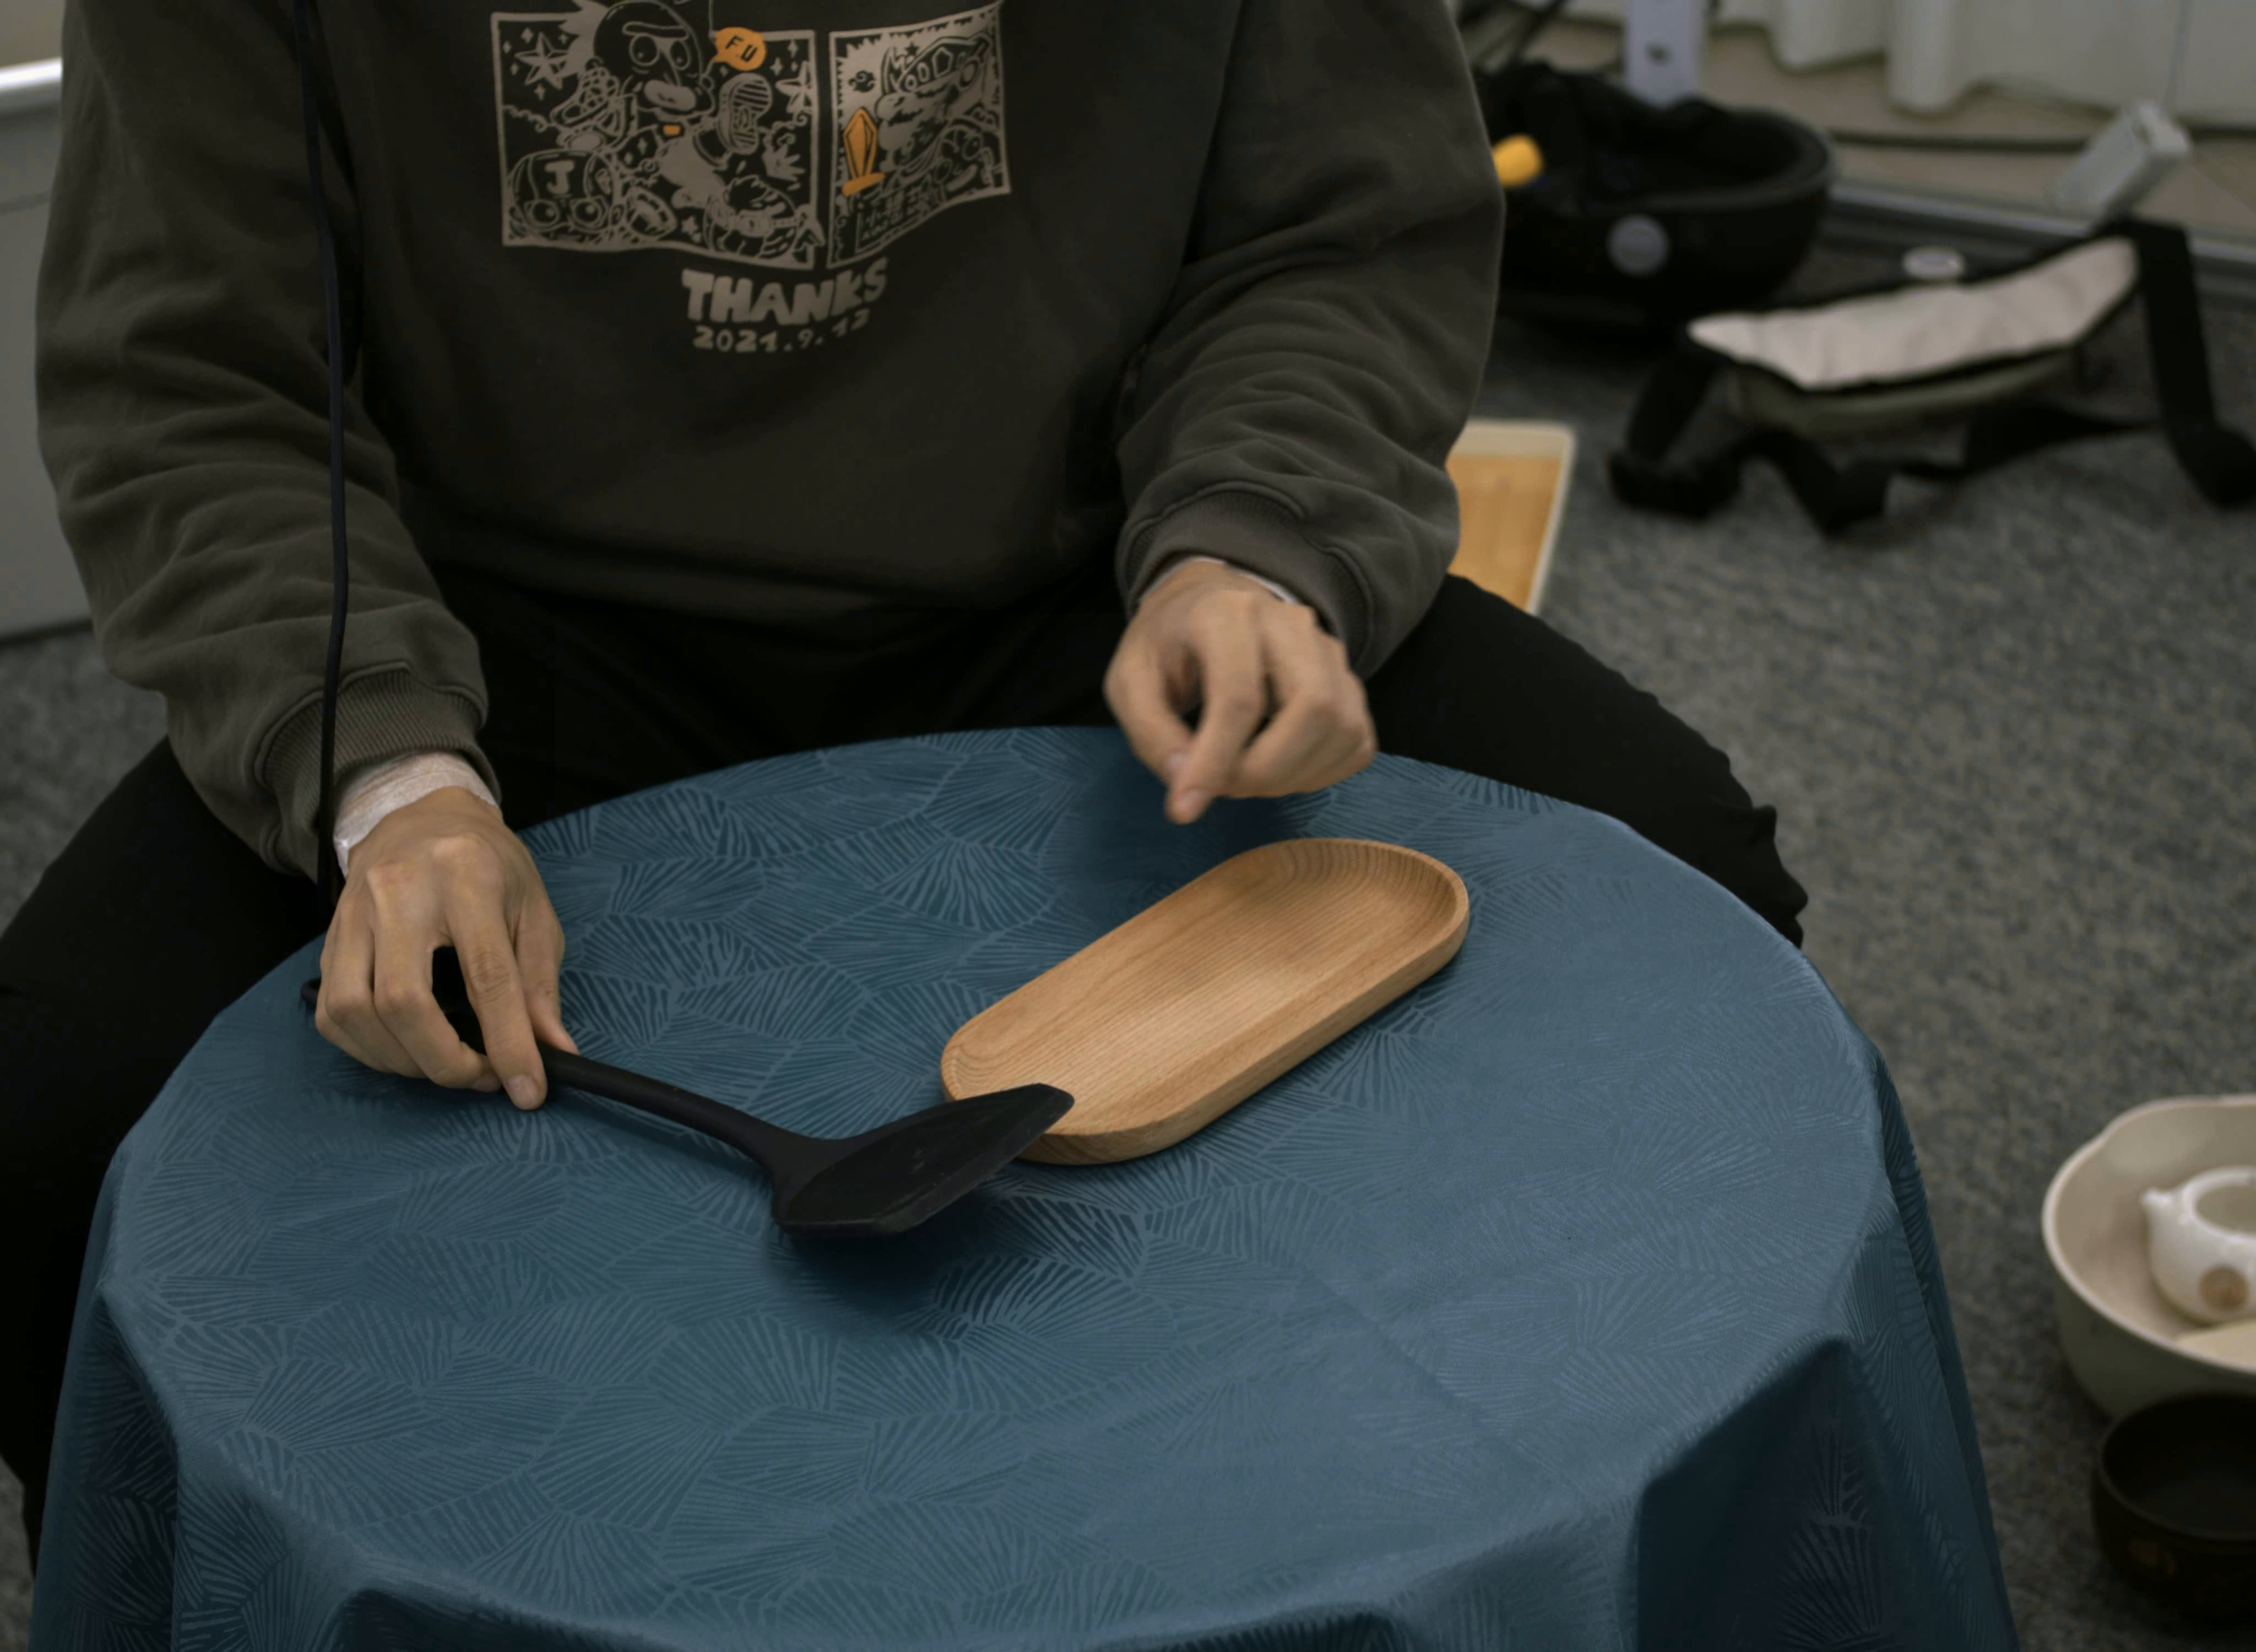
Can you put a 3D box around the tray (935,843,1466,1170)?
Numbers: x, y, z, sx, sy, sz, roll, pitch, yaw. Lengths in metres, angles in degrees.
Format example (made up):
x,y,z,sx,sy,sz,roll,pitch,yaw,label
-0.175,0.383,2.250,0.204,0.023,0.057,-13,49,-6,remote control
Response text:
x,y,z,sx,sy,sz,roll,pitch,yaw,label
0.027,0.061,1.956,0.101,0.020,0.234,18,35,36,tray

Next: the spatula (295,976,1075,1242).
x,y,z,sx,sy,sz,roll,pitch,yaw,label
-0.167,0.086,1.906,0.325,0.040,0.101,18,34,34,spatula
